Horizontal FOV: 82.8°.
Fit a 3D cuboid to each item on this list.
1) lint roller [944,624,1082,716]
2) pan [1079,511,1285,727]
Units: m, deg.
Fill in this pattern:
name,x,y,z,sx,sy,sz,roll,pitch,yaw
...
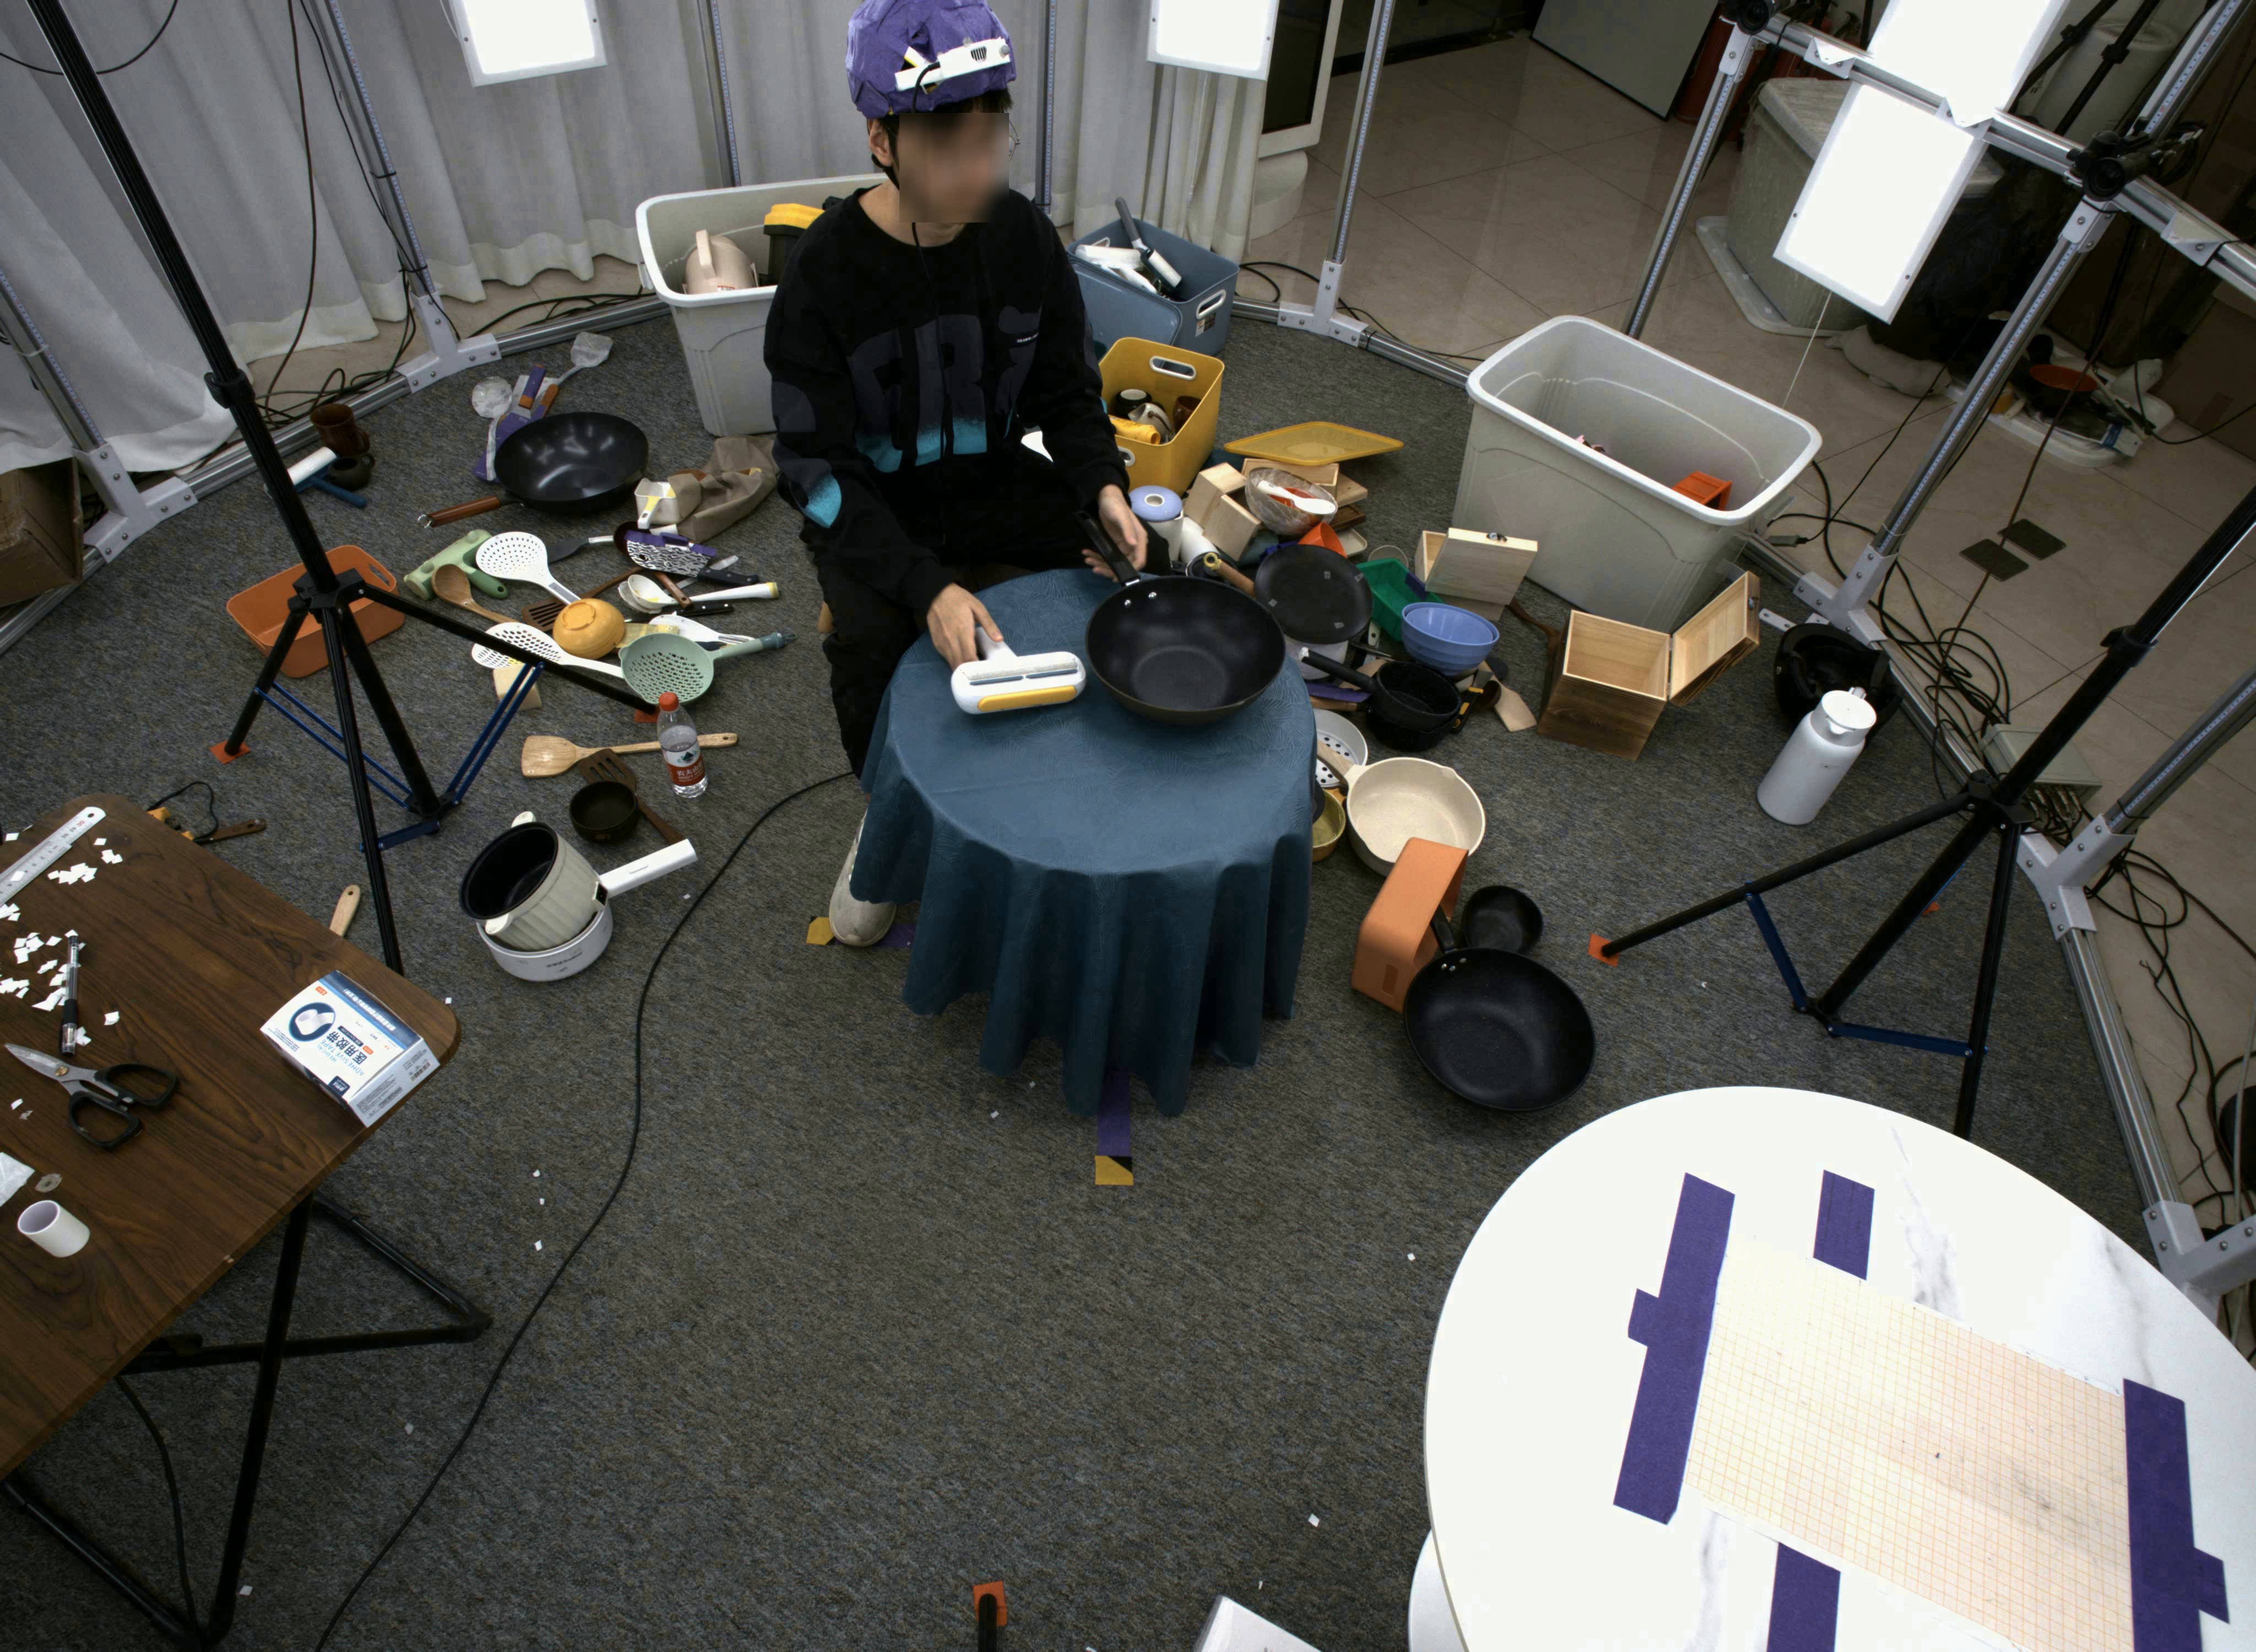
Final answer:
name,x,y,z,sx,sy,sz,roll,pitch,yaw
lint roller,-0.178,-0.234,1.816,0.193,0.072,0.197,-10,49,-19
pan,0.034,-0.298,1.874,0.289,0.085,0.473,-21,53,-20
